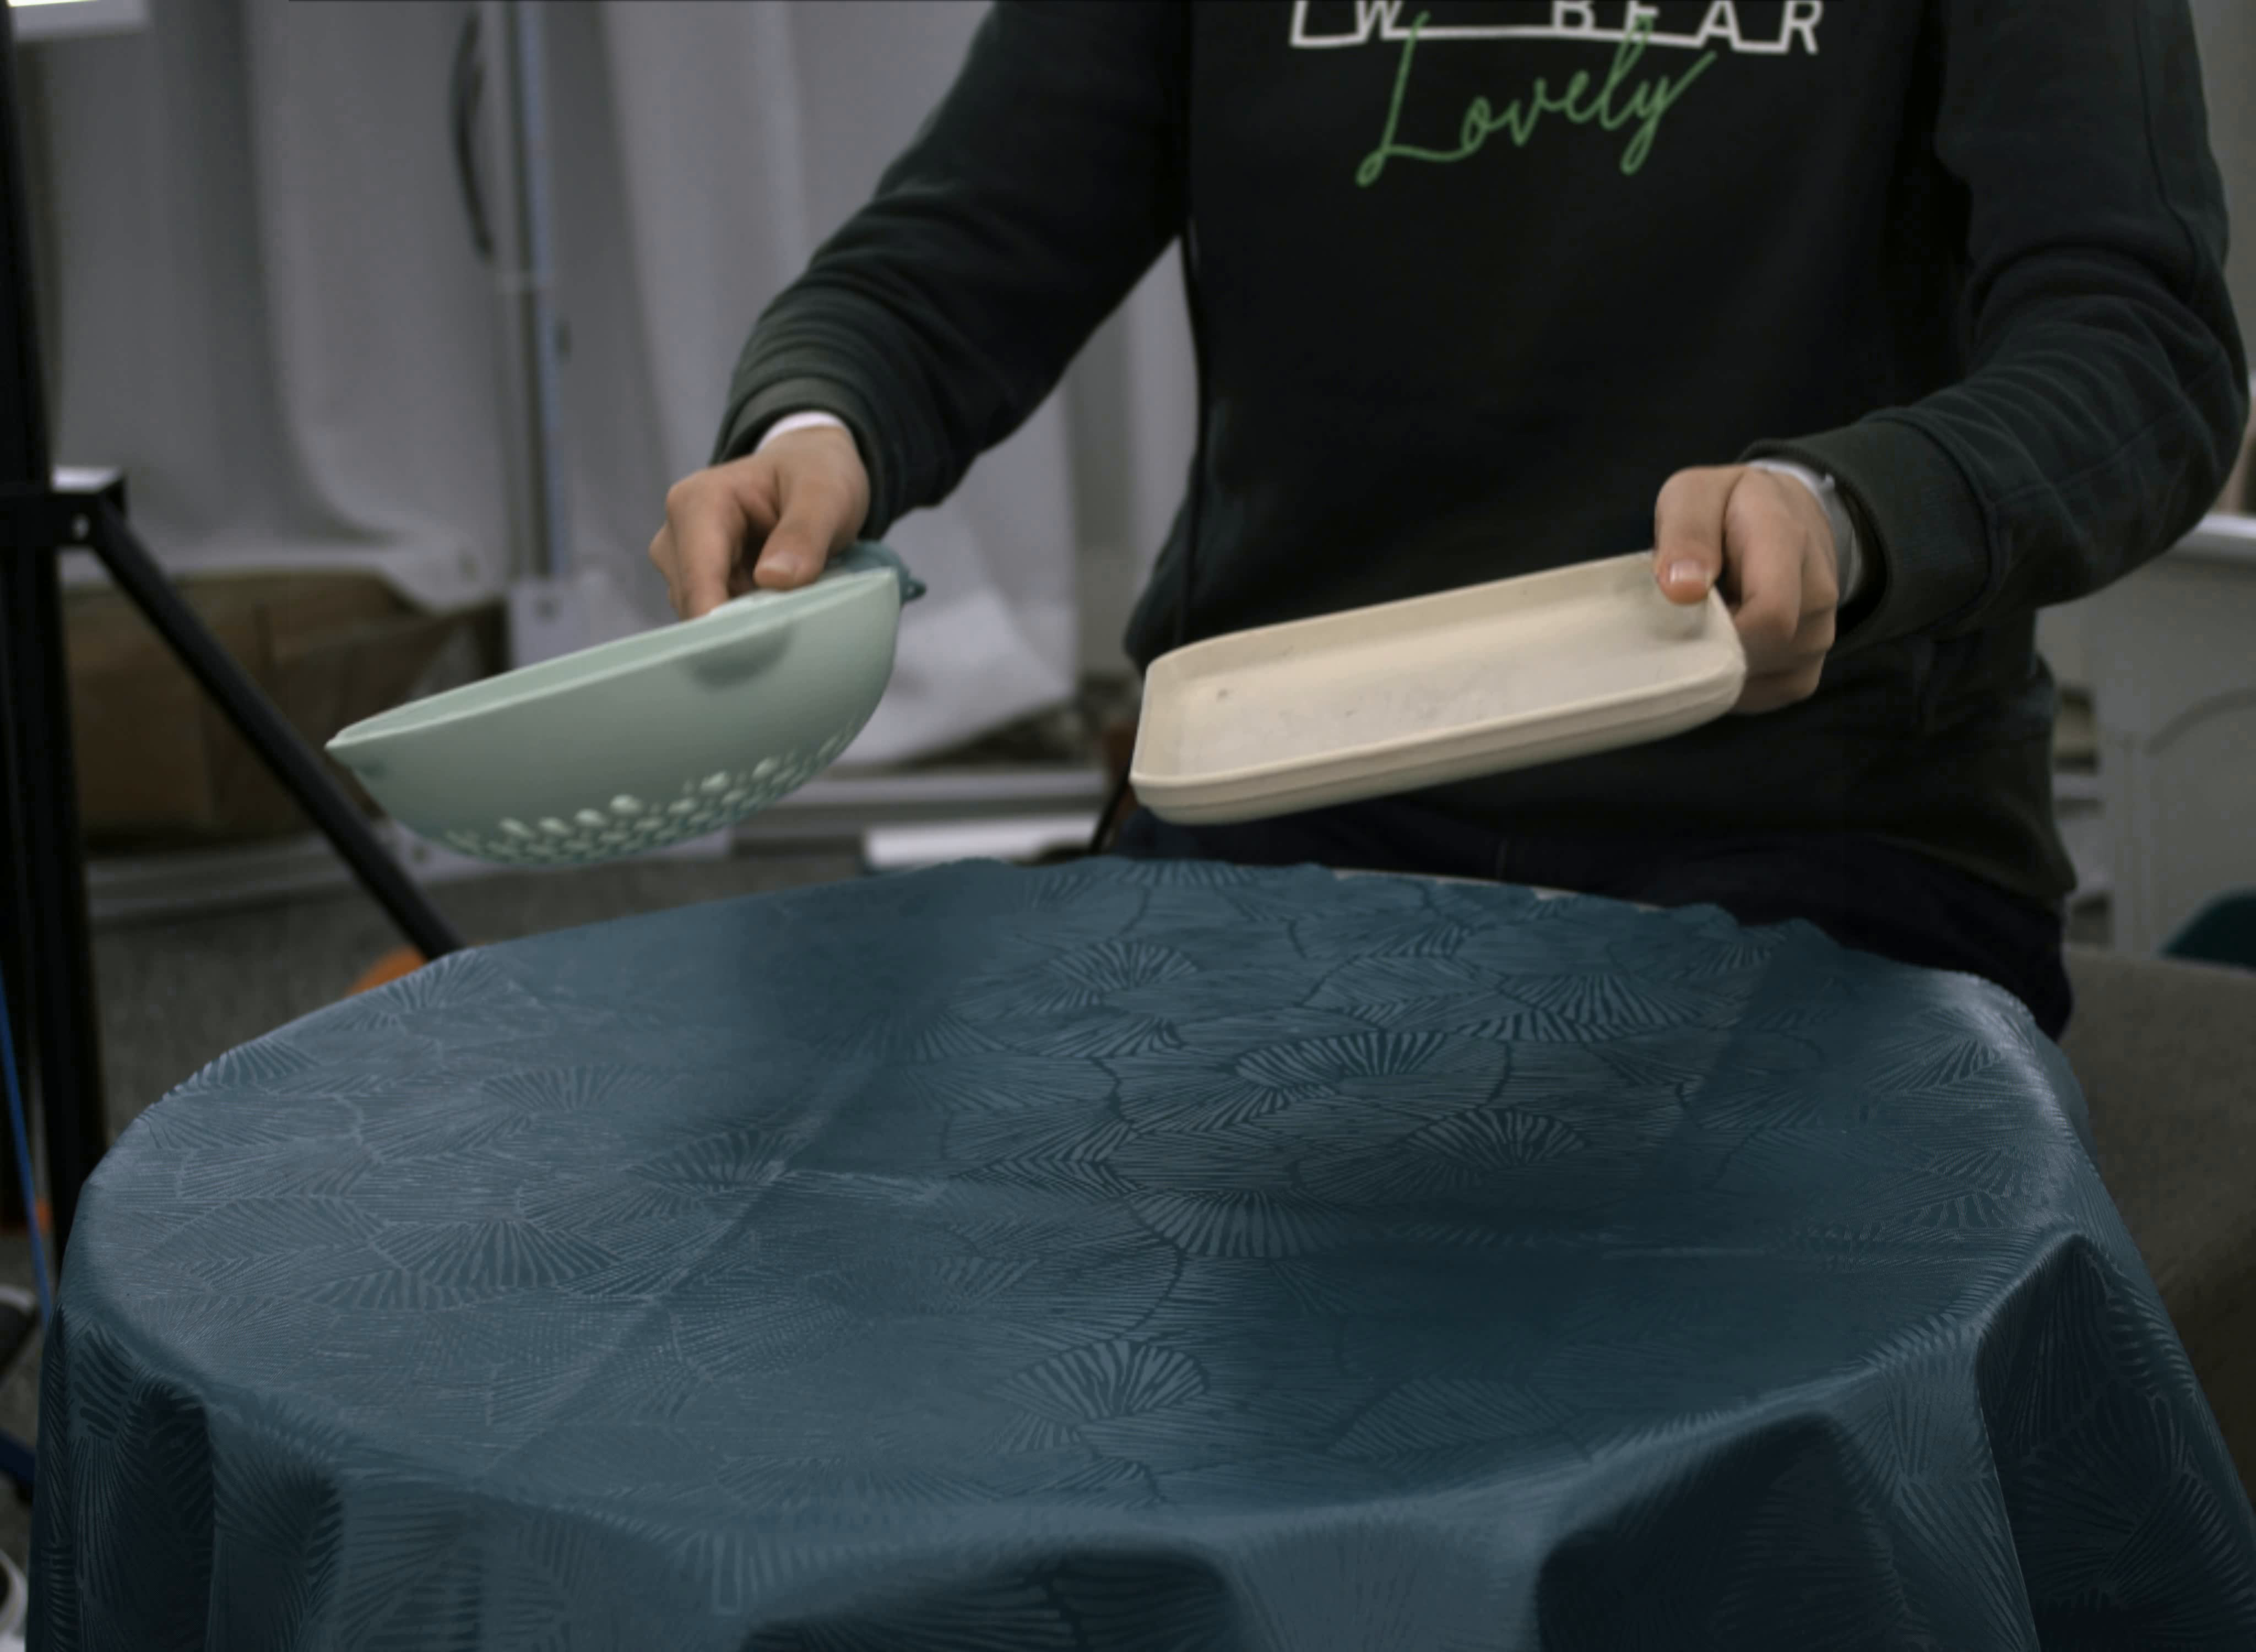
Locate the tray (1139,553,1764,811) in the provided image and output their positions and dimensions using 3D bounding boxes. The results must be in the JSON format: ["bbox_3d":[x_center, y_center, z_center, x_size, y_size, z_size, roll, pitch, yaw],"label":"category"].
[{"bbox_3d":[0.088,-0.041,1.499,0.171,0.017,0.240,-11,9,4],"label":"tray"}]

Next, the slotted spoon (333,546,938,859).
[{"bbox_3d":[-0.118,-0.055,1.629,0.170,0.075,0.357,-15,13,16],"label":"slotted spoon"}]
